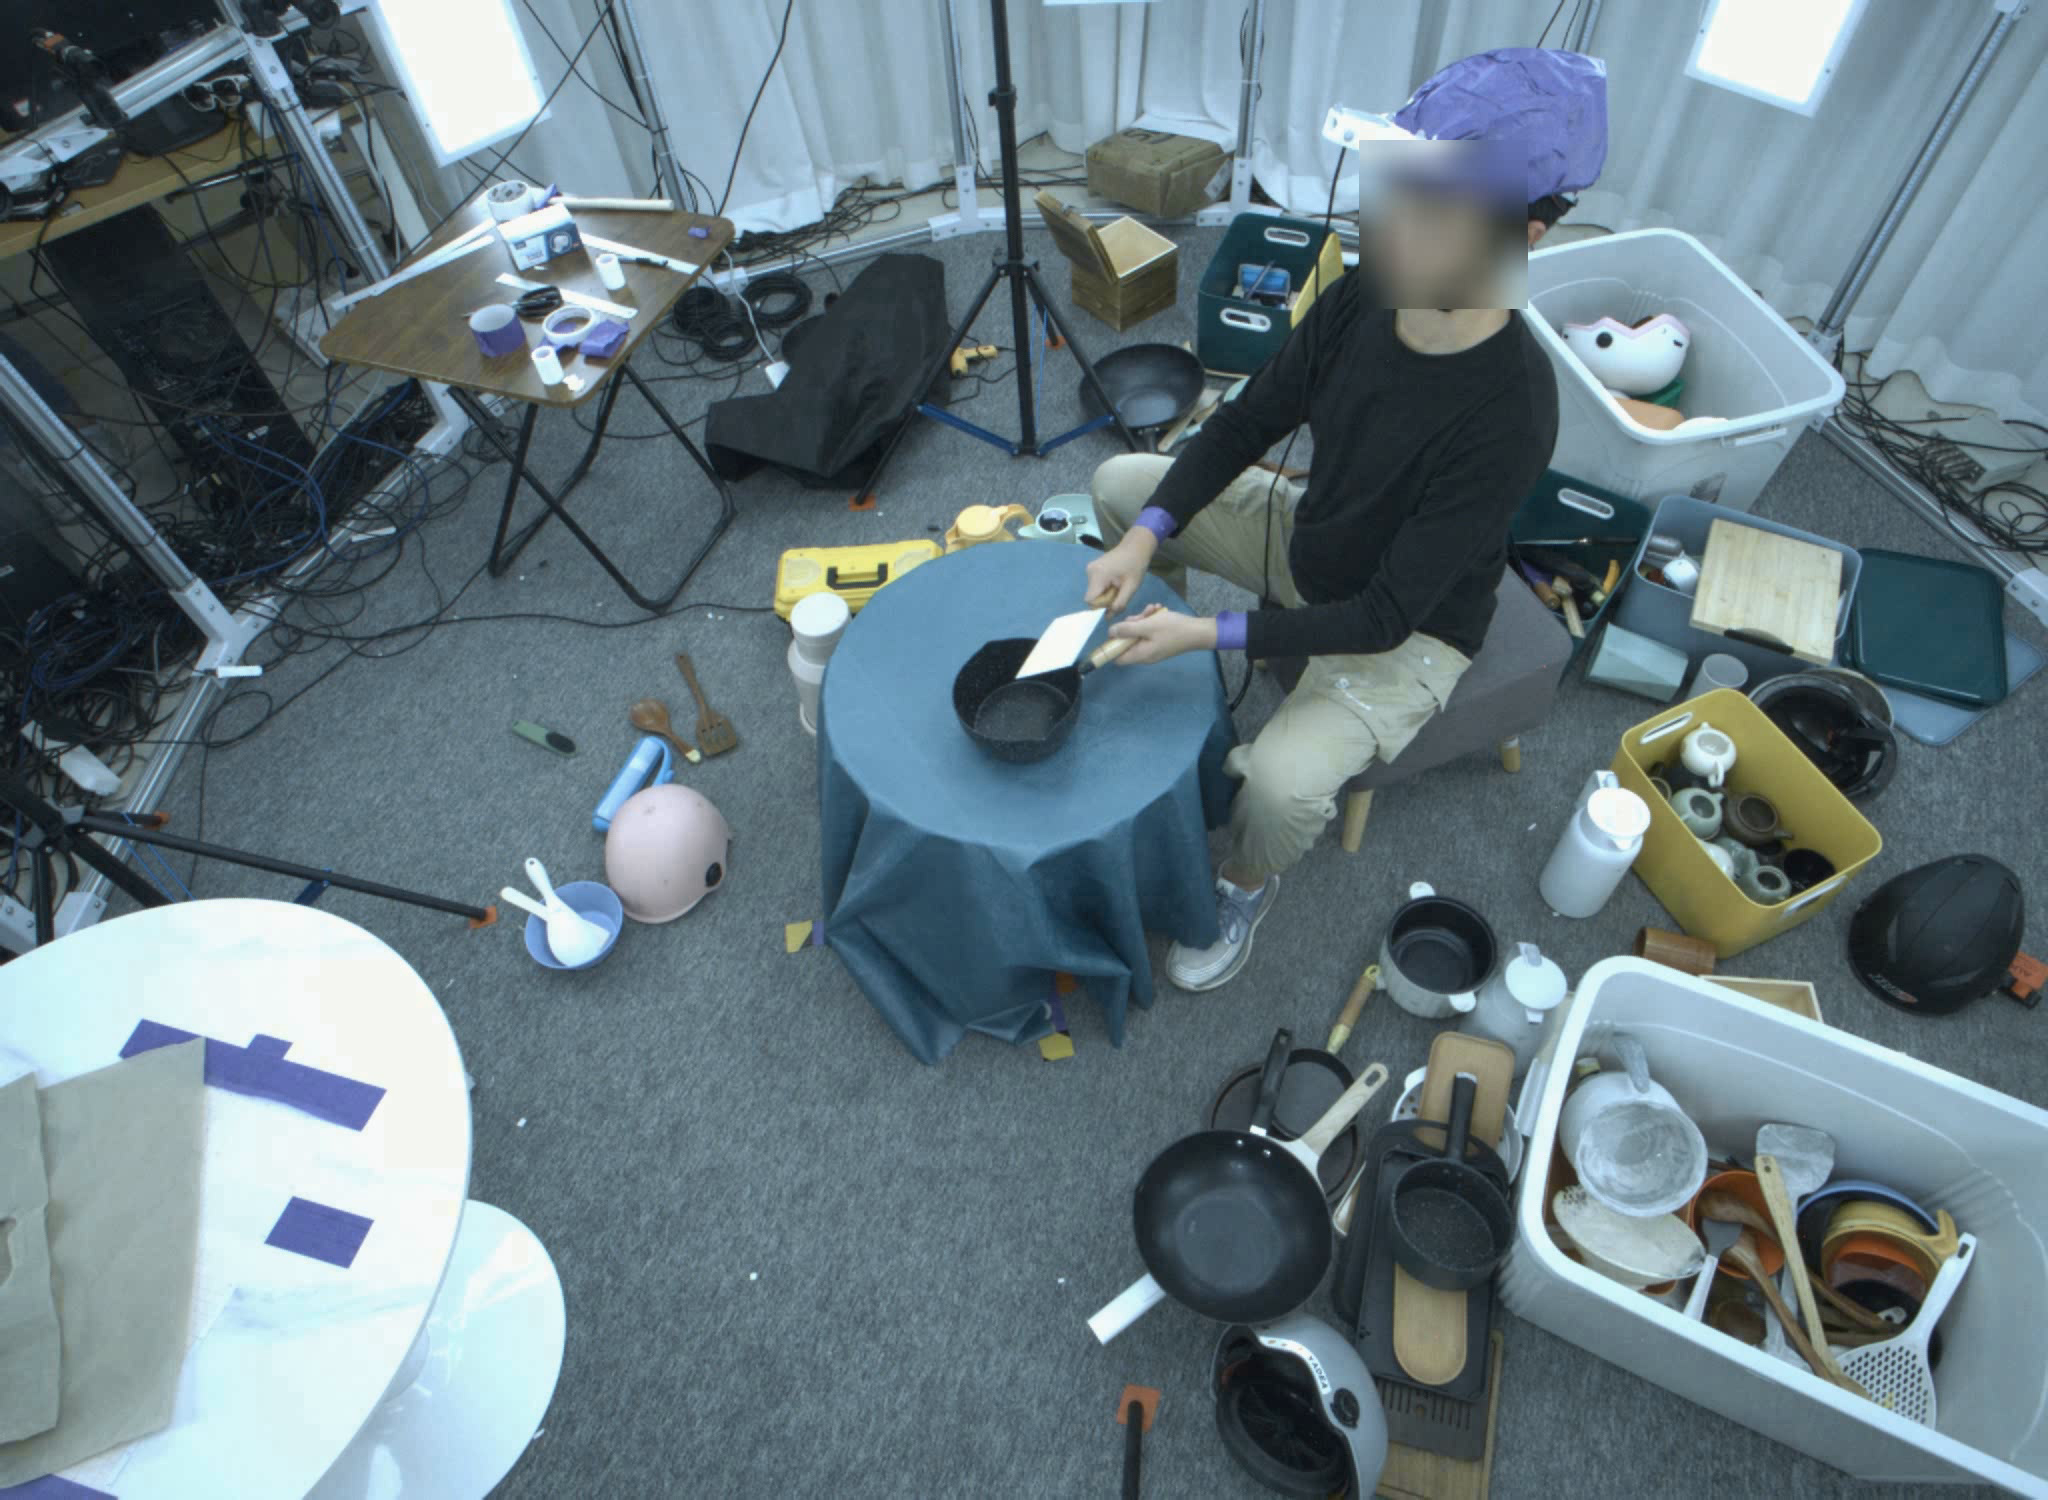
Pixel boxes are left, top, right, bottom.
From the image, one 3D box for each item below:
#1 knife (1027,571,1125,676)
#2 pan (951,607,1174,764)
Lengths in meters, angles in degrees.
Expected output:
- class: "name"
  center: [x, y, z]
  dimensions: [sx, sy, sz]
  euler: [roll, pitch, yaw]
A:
- class: "knife"
  center: [0.075, -0.184, 1.781]
  dimensions: [0.091, 0.021, 0.306]
  euler: [-12, 26, 27]
- class: "pan"
  center: [0.063, -0.105, 1.775]
  dimensions: [0.344, 0.110, 0.203]
  euler: [-26, 57, -8]
